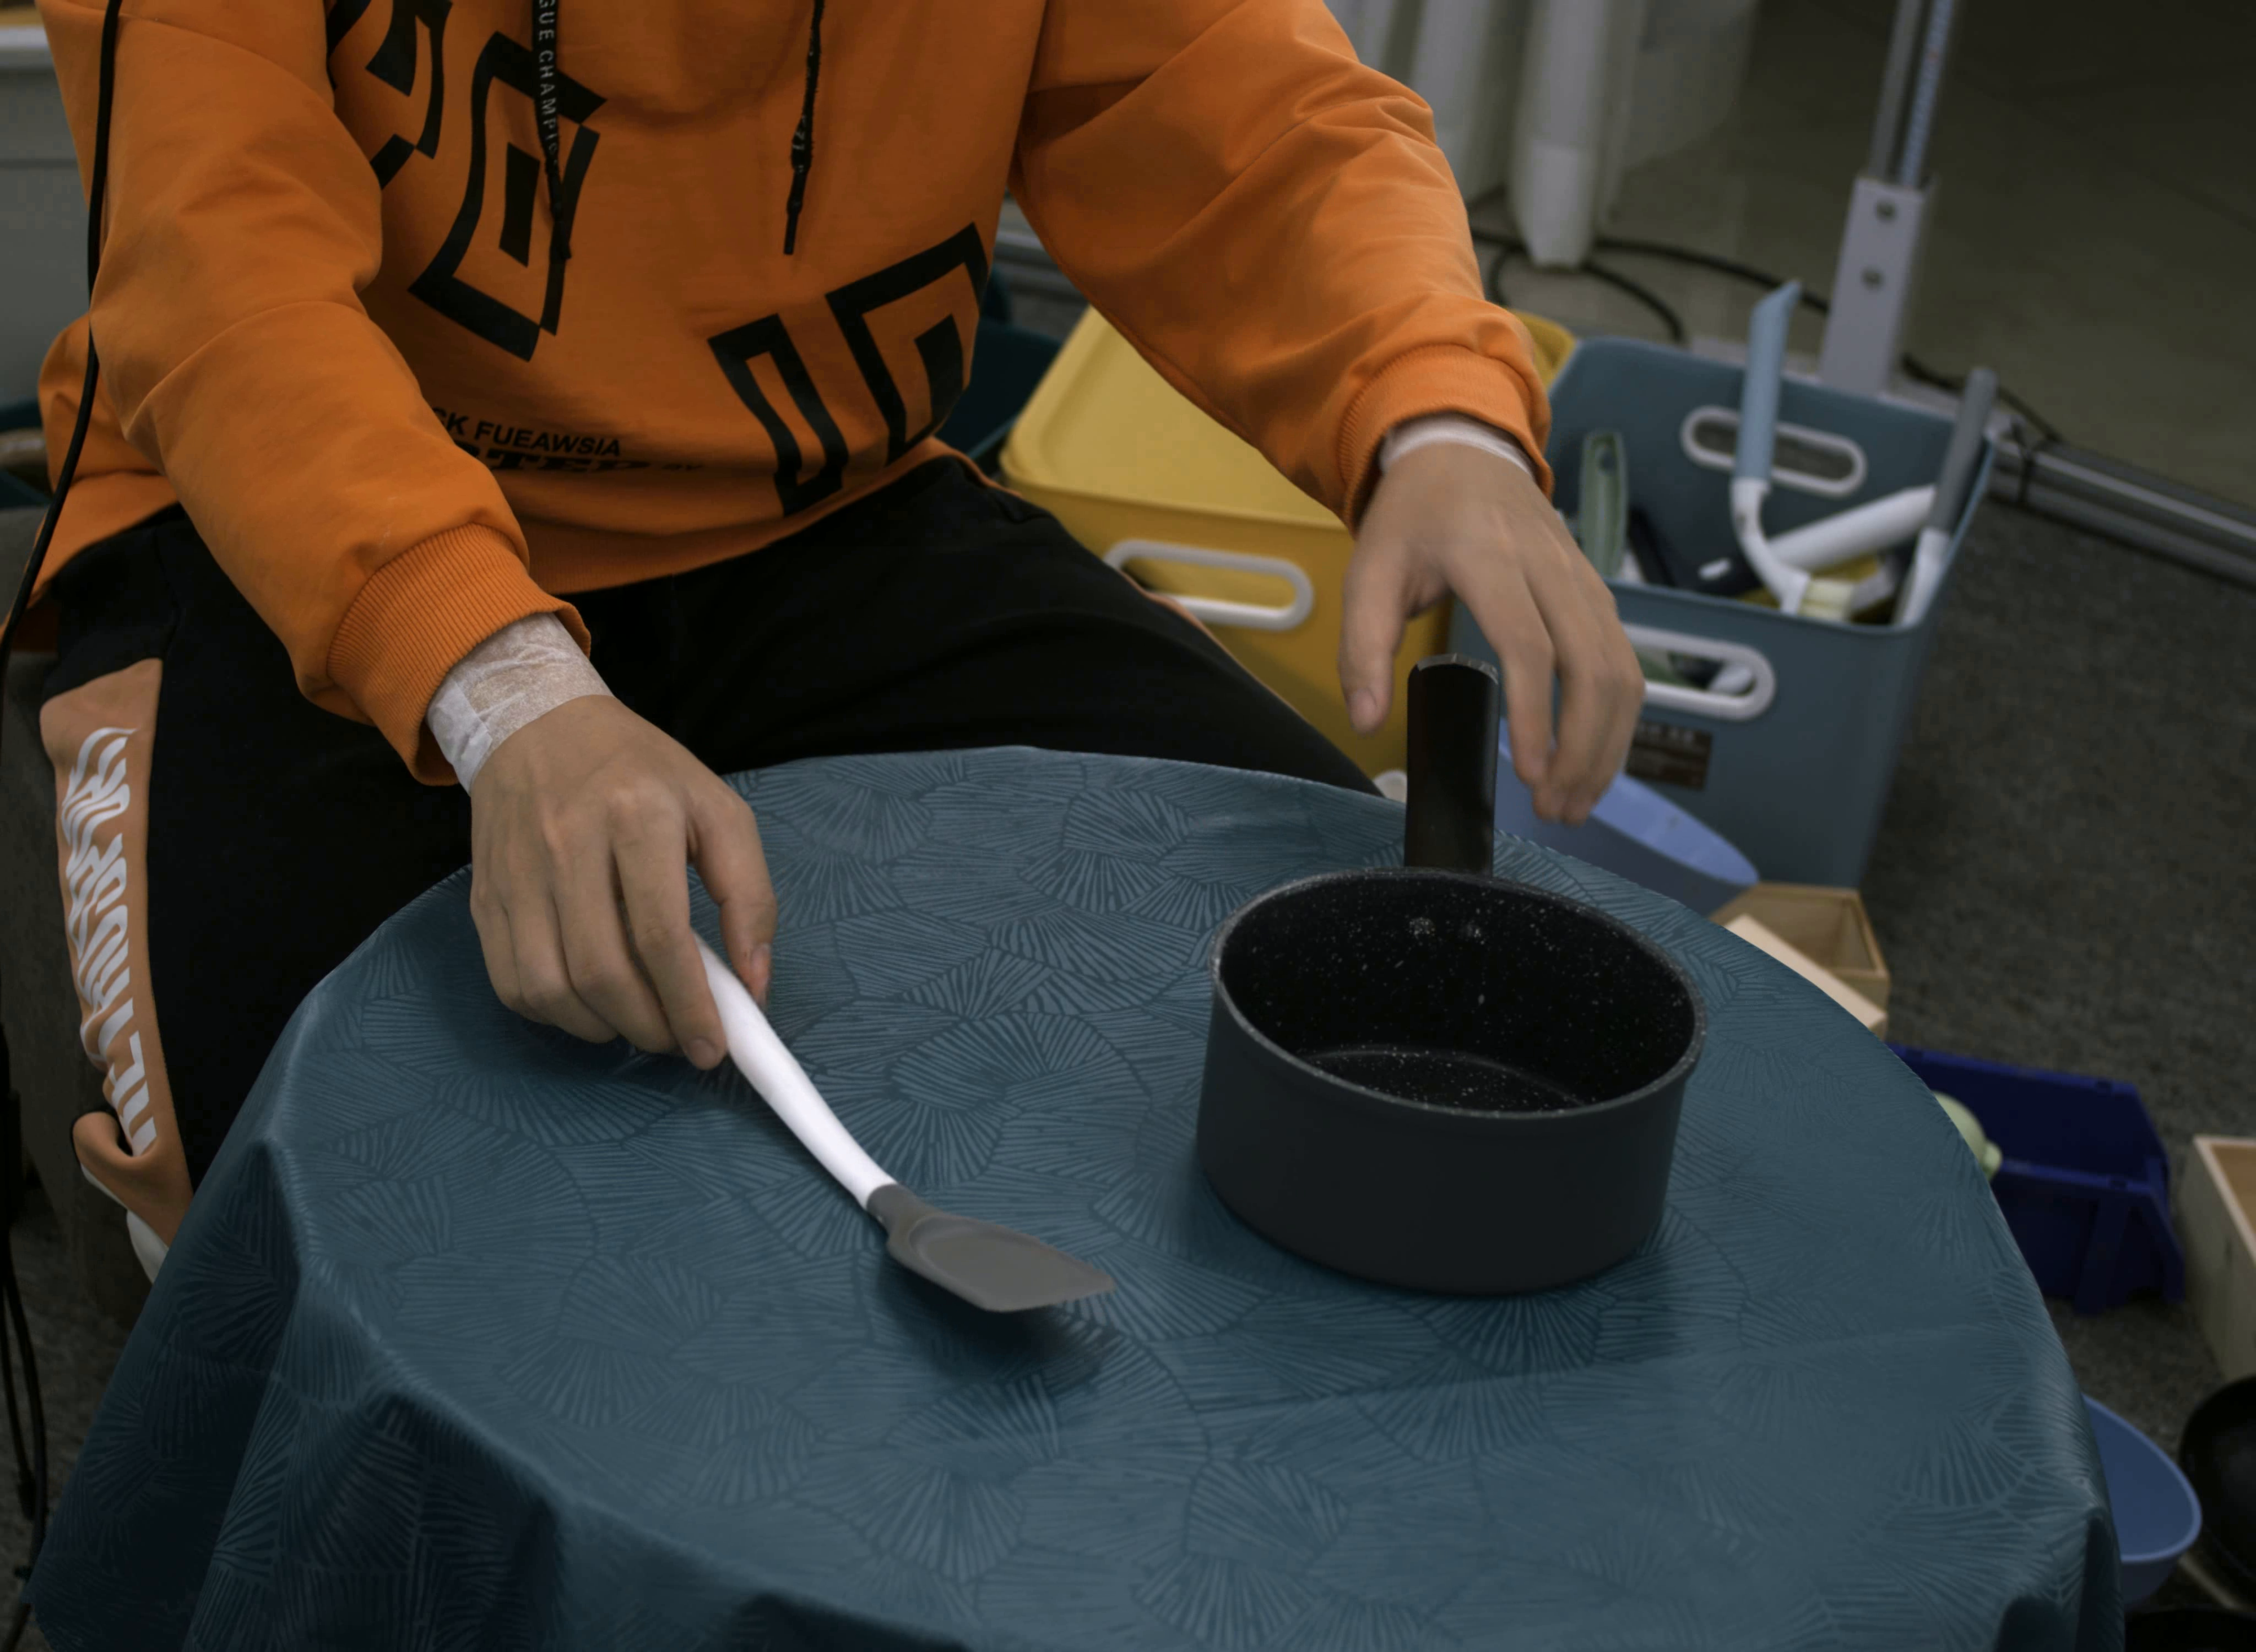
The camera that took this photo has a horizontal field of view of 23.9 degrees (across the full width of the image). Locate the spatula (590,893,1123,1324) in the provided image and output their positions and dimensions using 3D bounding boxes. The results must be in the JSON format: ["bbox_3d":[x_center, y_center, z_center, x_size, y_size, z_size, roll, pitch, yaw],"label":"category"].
[{"bbox_3d":[-0.100,0.099,1.792,0.058,0.032,0.290,-4,28,-35],"label":"spatula"}]

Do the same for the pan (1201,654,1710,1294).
[{"bbox_3d":[0.115,0.048,1.883,0.171,0.086,0.330,8,29,2],"label":"pan"}]
